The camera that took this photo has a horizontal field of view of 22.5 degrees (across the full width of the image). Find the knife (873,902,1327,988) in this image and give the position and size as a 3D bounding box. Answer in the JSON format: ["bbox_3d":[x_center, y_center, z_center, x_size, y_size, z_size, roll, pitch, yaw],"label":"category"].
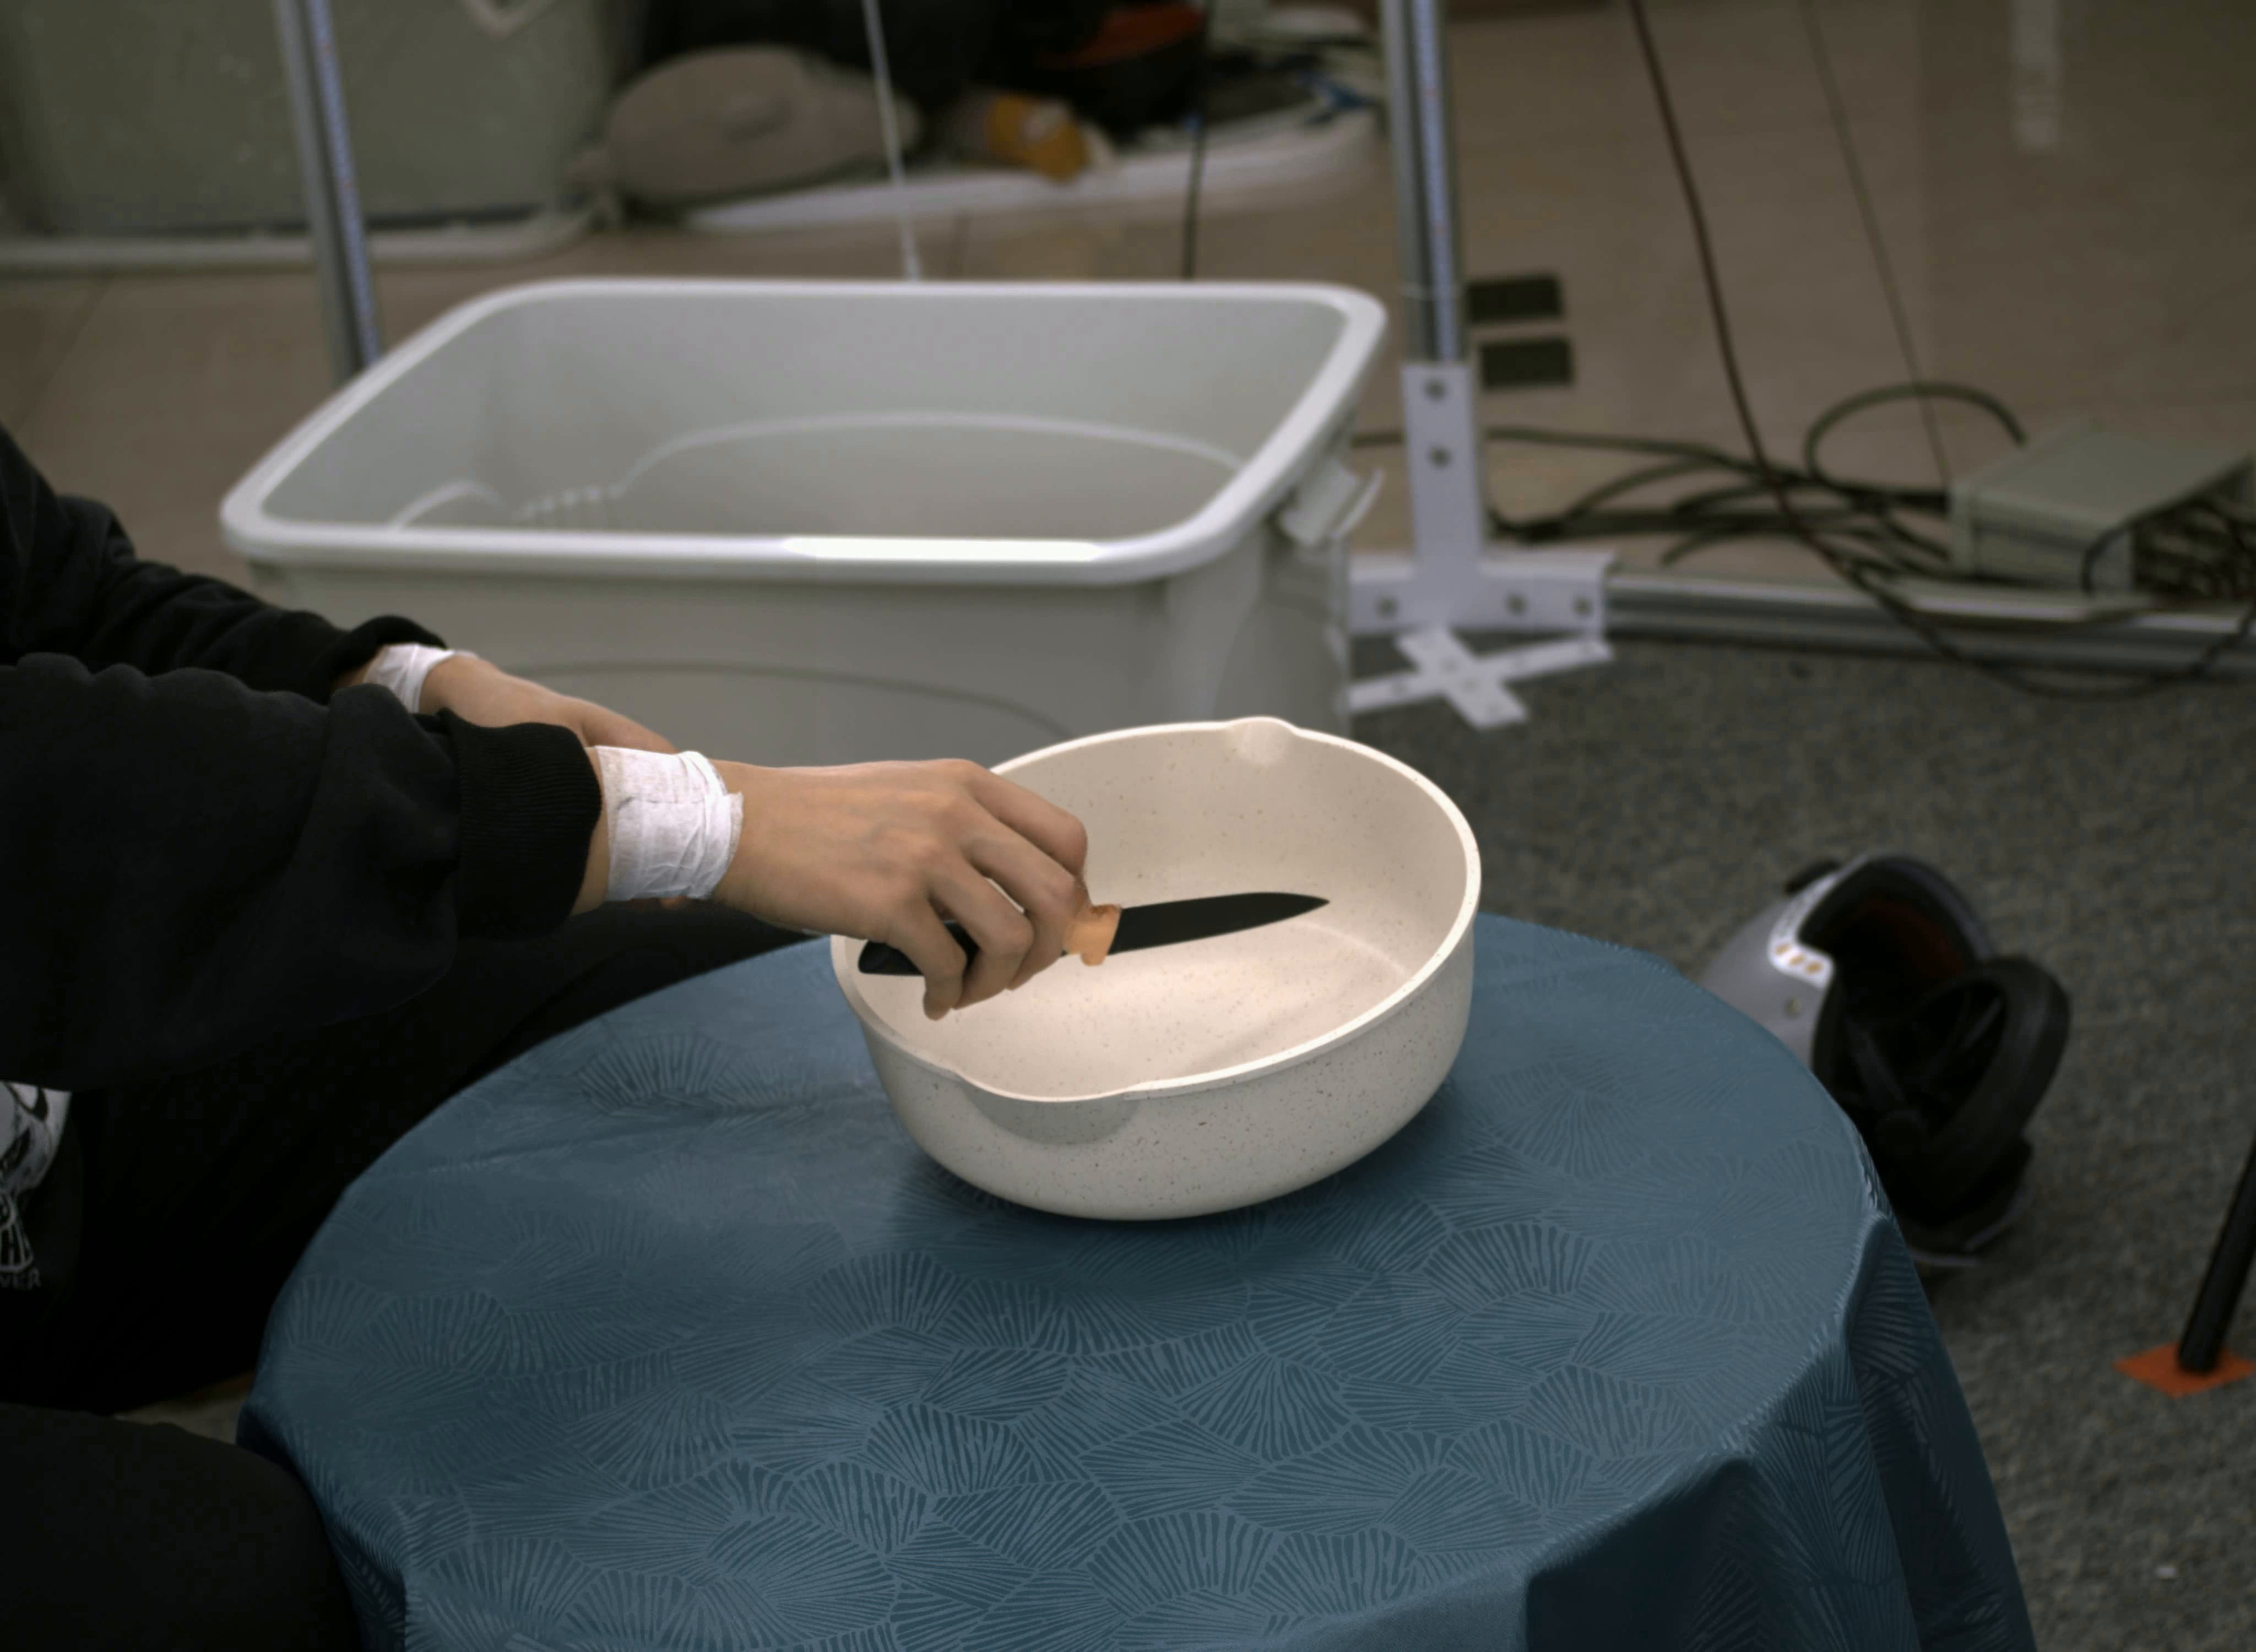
[{"bbox_3d":[-0.007,0.041,2.146,0.225,0.026,0.017,-6,30,-40],"label":"knife"}]

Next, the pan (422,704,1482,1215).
[{"bbox_3d":[-0.070,0.045,2.217,0.433,0.104,0.259,5,37,21],"label":"pan"}]
